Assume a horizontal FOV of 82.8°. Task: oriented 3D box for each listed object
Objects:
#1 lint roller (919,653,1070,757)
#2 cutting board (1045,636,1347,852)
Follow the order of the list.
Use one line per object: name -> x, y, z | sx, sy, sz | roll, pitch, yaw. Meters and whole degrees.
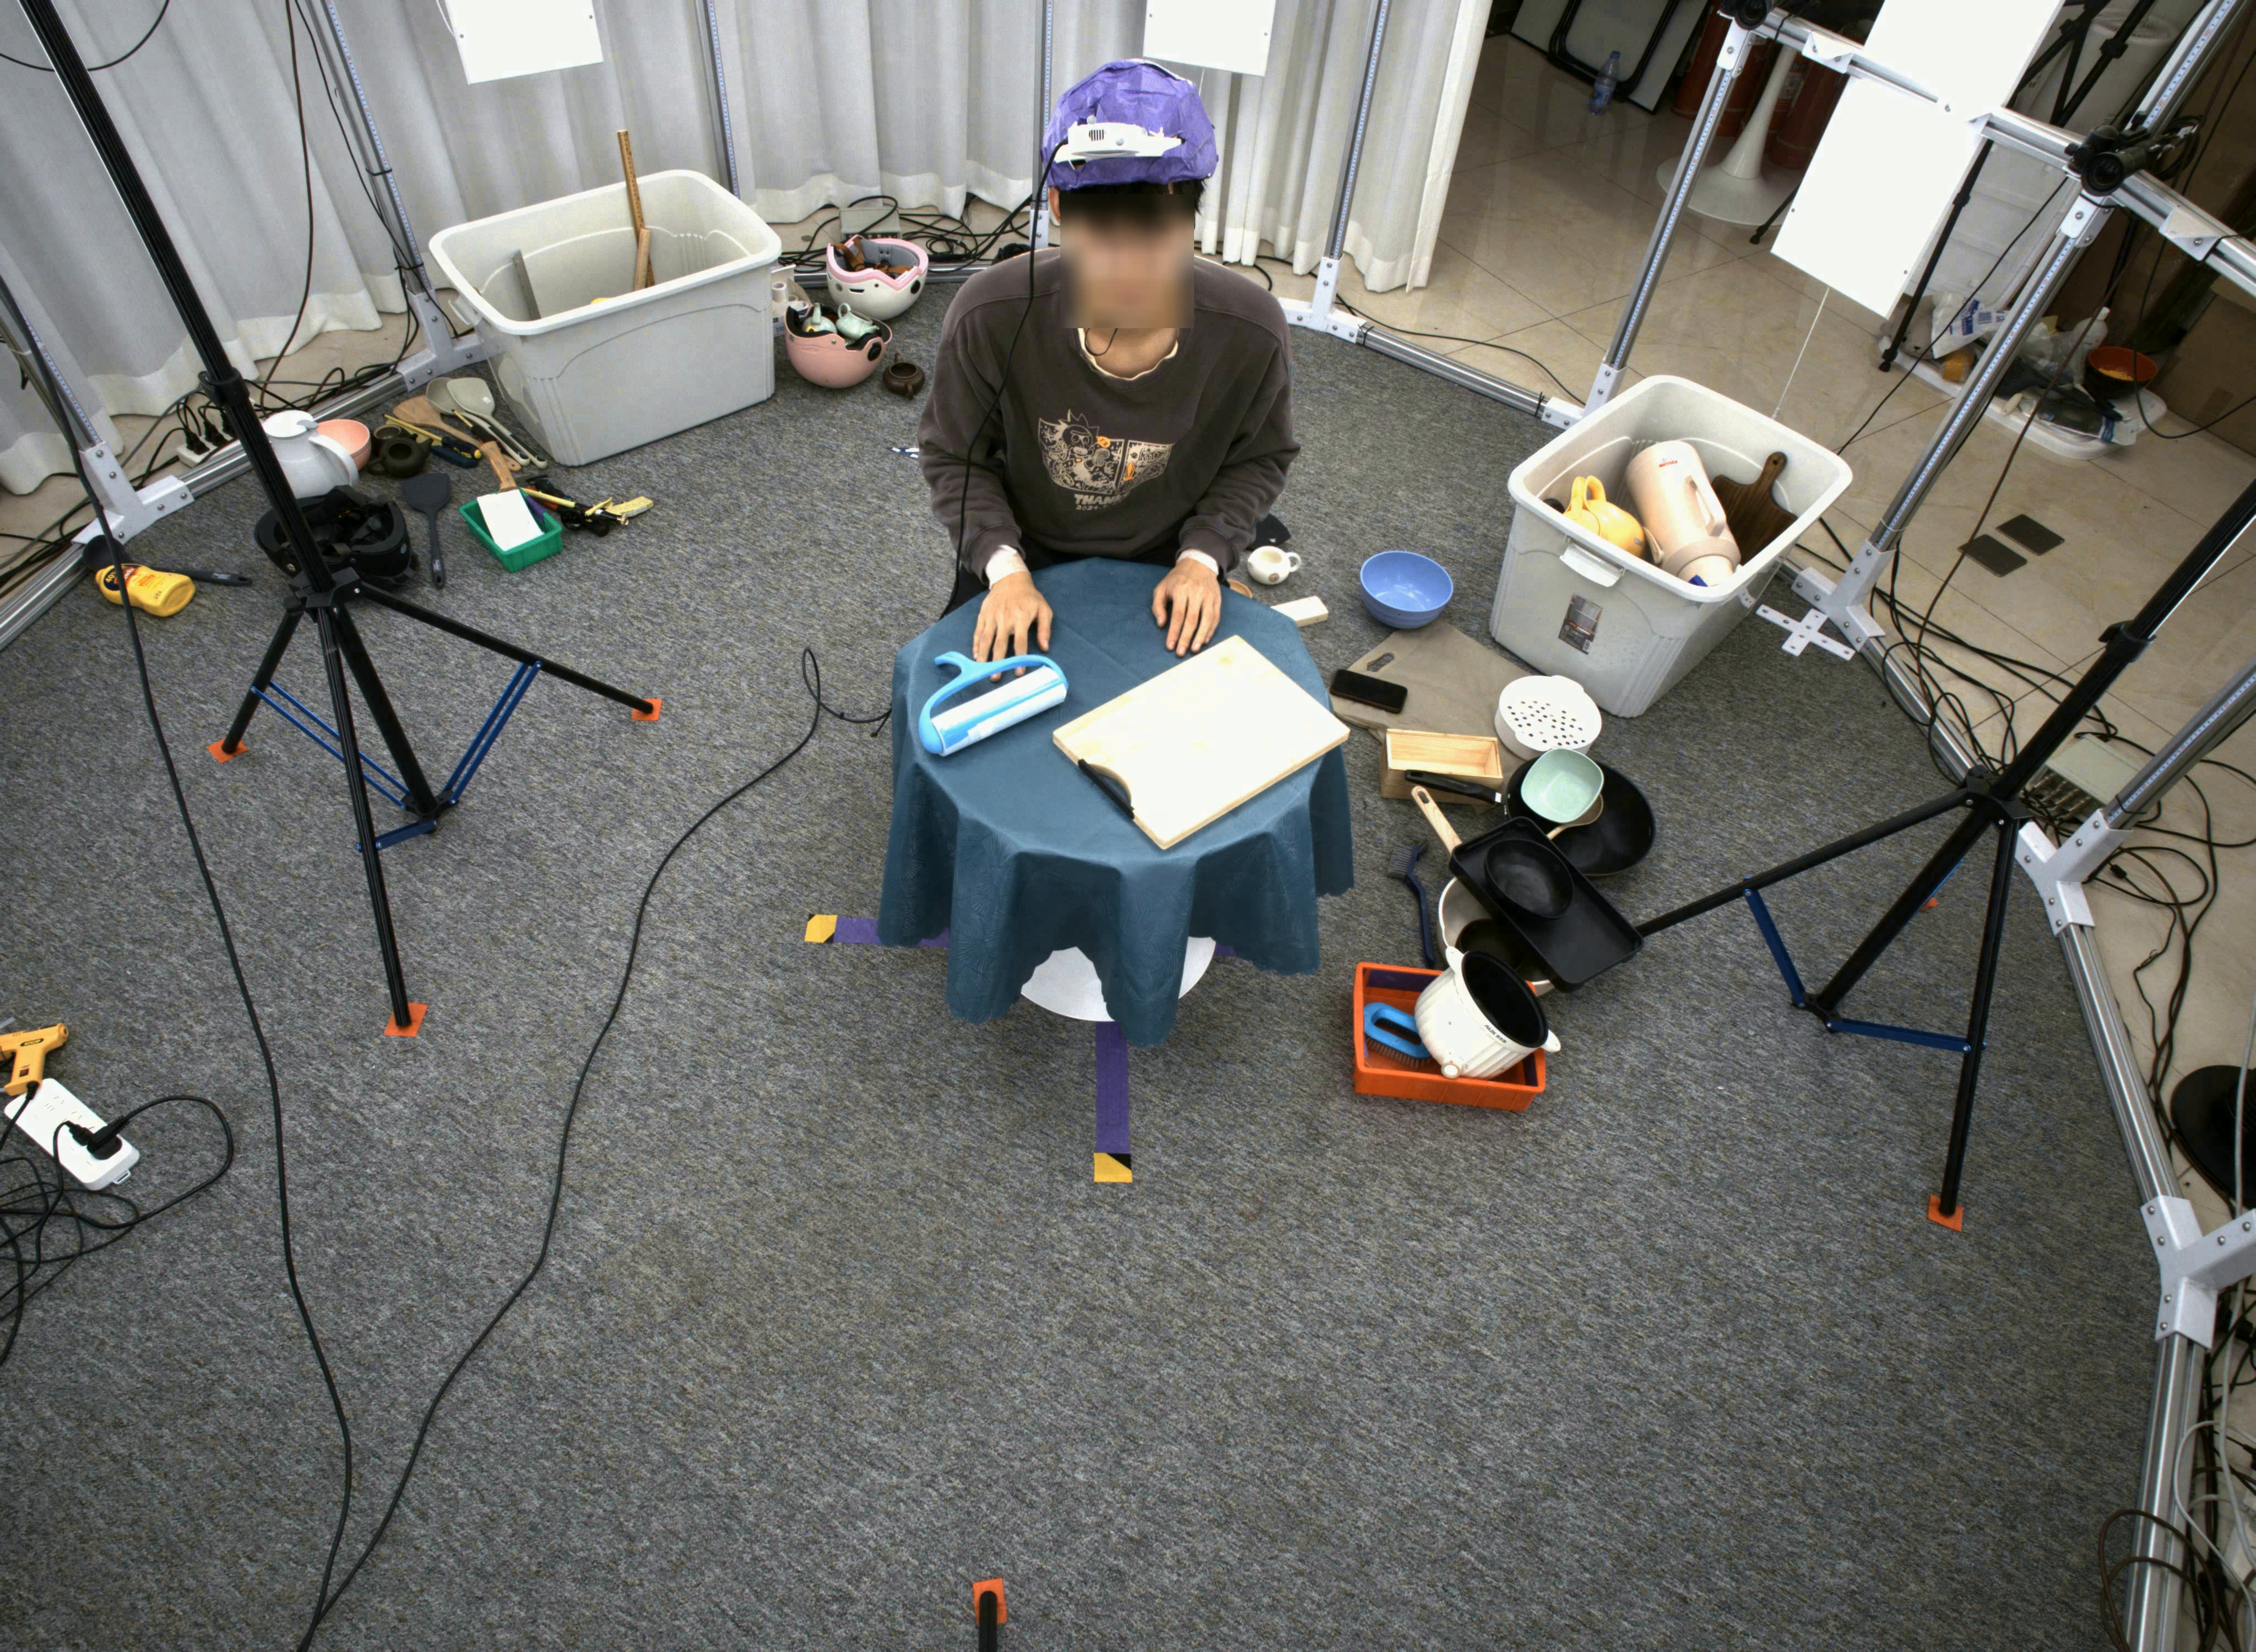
lint roller -> -0.215, -0.196, 1.786 | 0.230, 0.066, 0.183 | -29, 58, -25
cutting board -> 0.097, -0.122, 1.767 | 0.351, 0.023, 0.255 | -31, 57, -26
